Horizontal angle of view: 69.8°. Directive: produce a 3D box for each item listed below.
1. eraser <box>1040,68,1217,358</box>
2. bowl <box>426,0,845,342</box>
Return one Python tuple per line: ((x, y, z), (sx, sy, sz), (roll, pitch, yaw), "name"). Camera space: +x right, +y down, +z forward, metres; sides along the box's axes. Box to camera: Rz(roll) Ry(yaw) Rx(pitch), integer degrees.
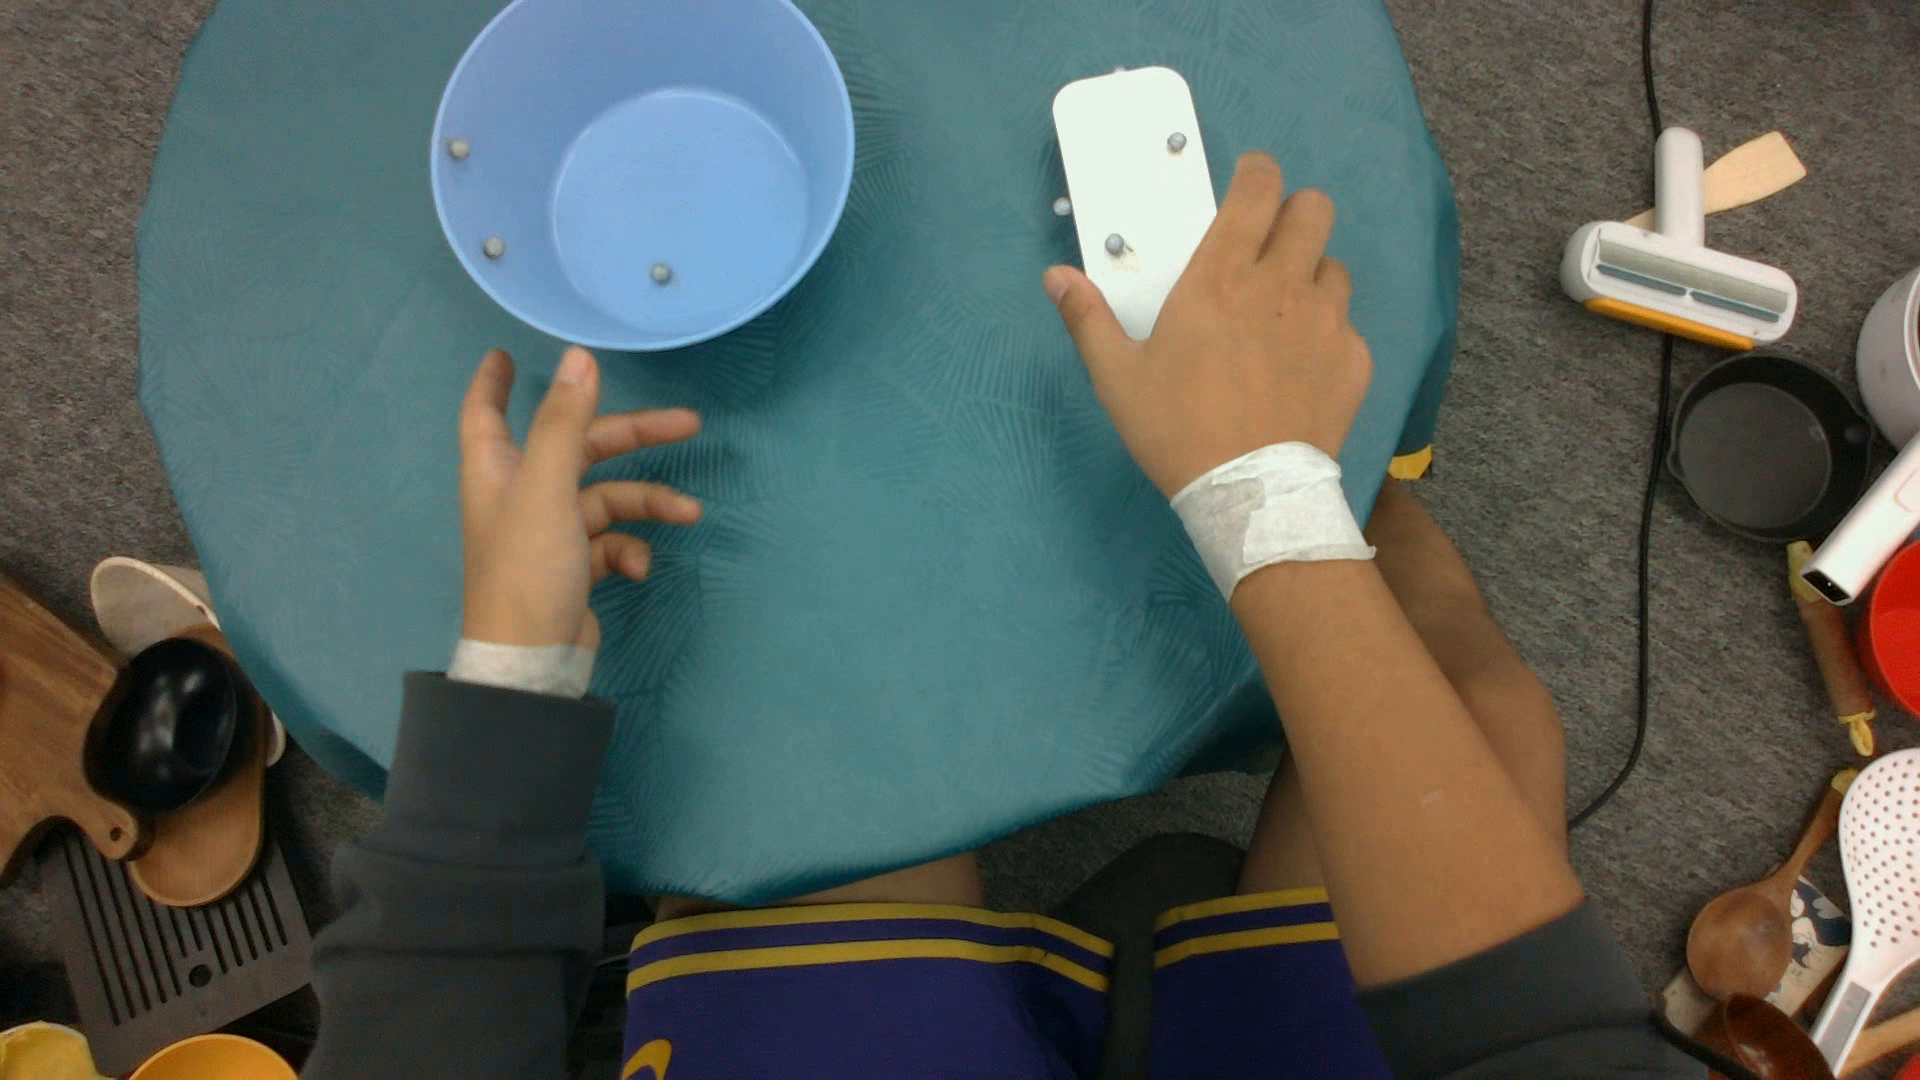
((0.073, -0.146, 0.613), (0.063, 0.034, 0.131), (-9, 76, 1), "eraser")
((-0.134, -0.160, 0.602), (0.176, 0.070, 0.176), (0, 78, 2), "bowl")
